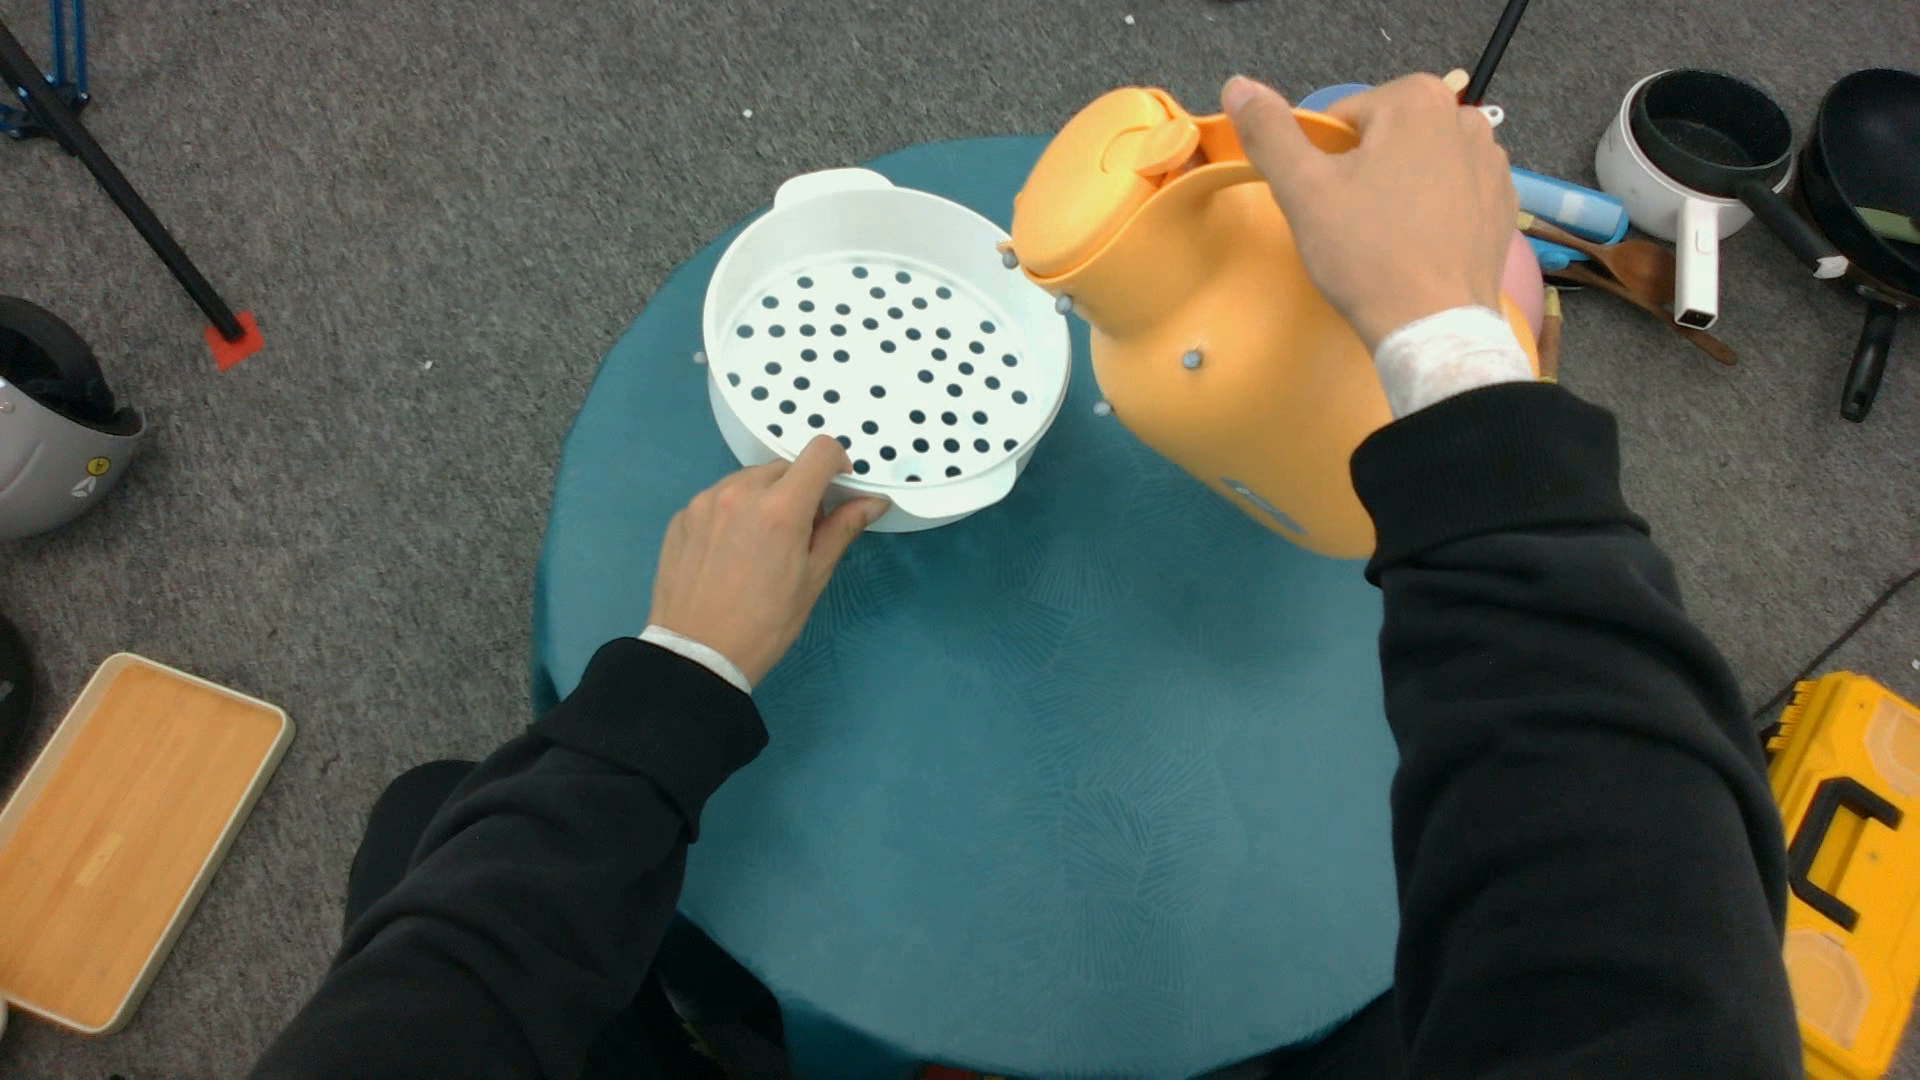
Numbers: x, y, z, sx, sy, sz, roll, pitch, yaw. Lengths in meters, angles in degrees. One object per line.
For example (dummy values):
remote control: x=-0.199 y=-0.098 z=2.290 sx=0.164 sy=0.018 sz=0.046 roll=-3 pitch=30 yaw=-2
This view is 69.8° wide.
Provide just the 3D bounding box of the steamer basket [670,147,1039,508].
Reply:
steamer basket: x=-0.060 y=-0.113 z=0.770 sx=0.202 sy=0.069 sz=0.231 roll=-15 pitch=66 yaw=-21

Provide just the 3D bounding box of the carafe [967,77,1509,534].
carafe: x=0.141 y=-0.116 z=0.647 sx=0.260 sy=0.202 sz=0.164 roll=25 pitch=76 yaw=-30
